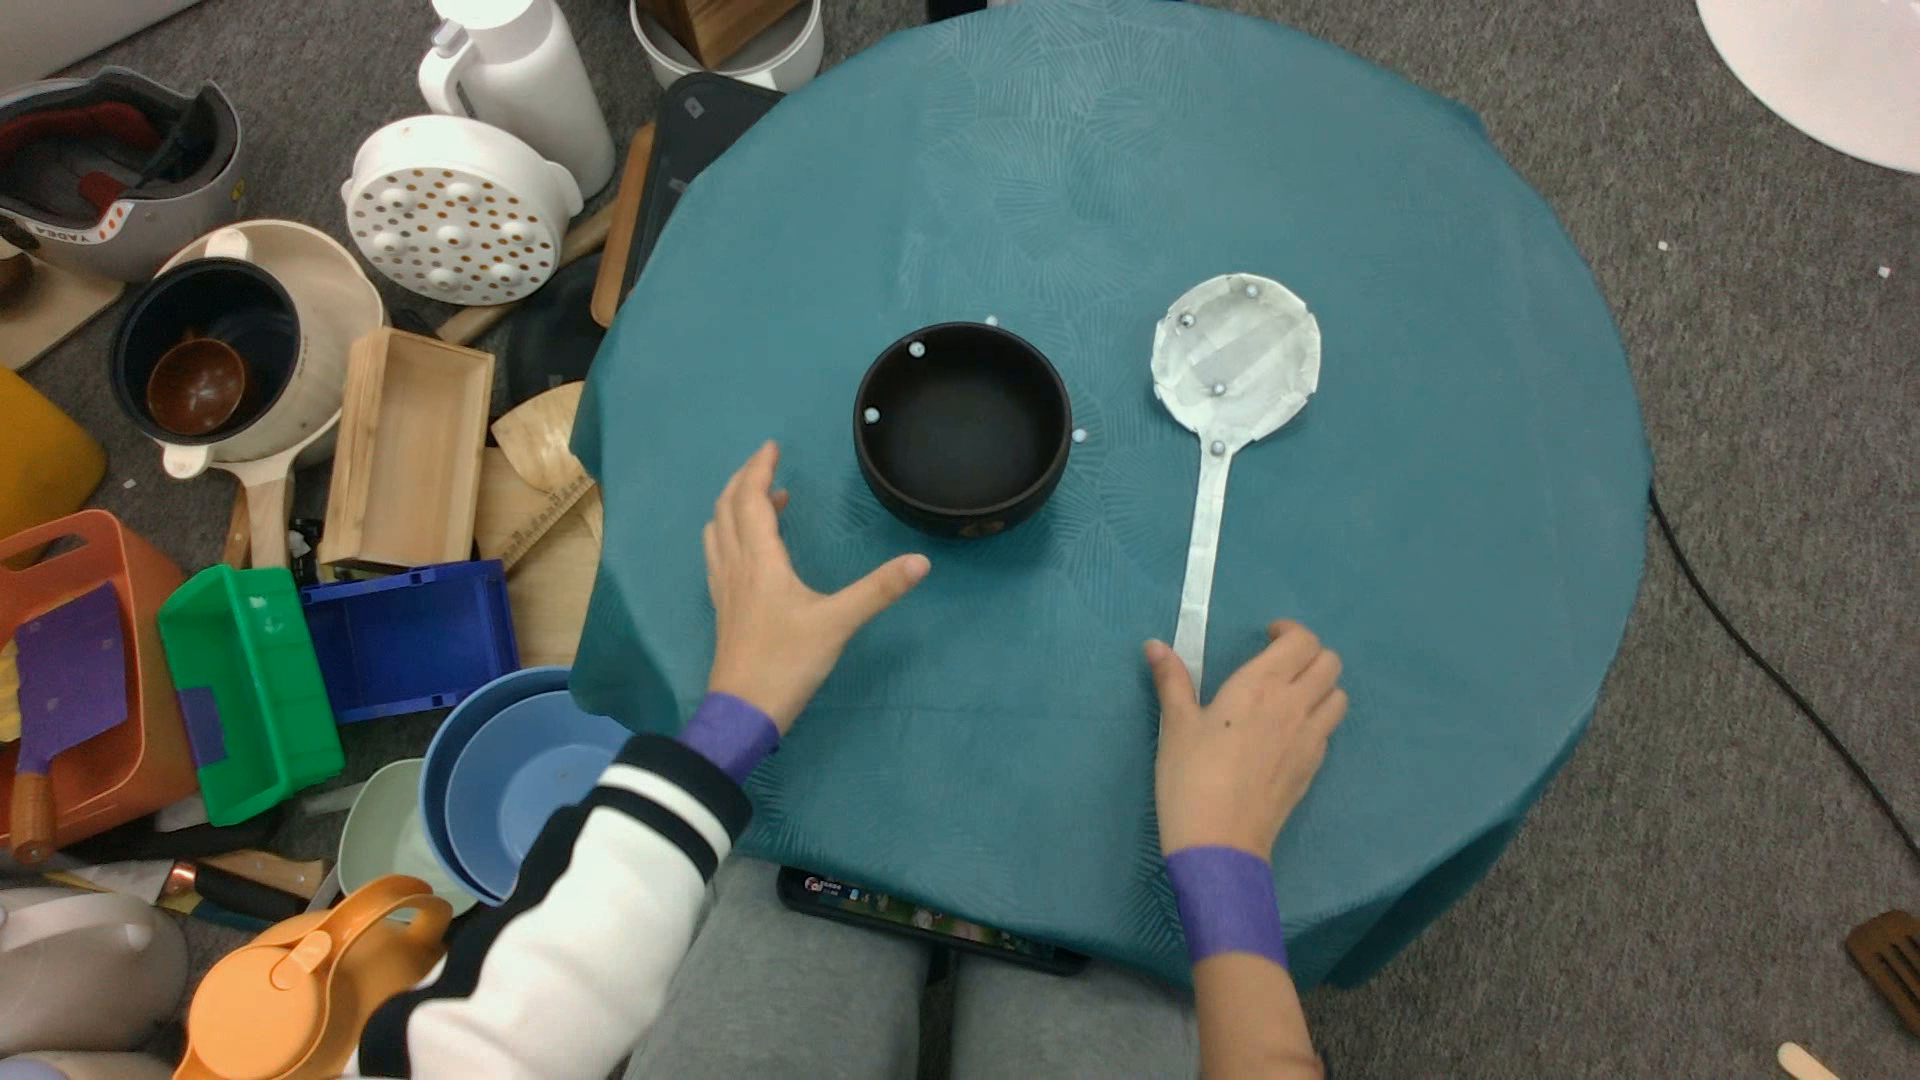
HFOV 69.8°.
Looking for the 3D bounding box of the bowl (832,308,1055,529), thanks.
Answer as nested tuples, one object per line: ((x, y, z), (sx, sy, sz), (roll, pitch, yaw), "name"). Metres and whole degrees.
((-0.009, -0.059, 0.746), (0.118, 0.069, 0.118), (0, 69, -1), "bowl")

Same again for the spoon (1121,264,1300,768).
((0.118, -0.018, 0.742), (0.100, 0.059, 0.278), (11, 69, 7), "spoon")
